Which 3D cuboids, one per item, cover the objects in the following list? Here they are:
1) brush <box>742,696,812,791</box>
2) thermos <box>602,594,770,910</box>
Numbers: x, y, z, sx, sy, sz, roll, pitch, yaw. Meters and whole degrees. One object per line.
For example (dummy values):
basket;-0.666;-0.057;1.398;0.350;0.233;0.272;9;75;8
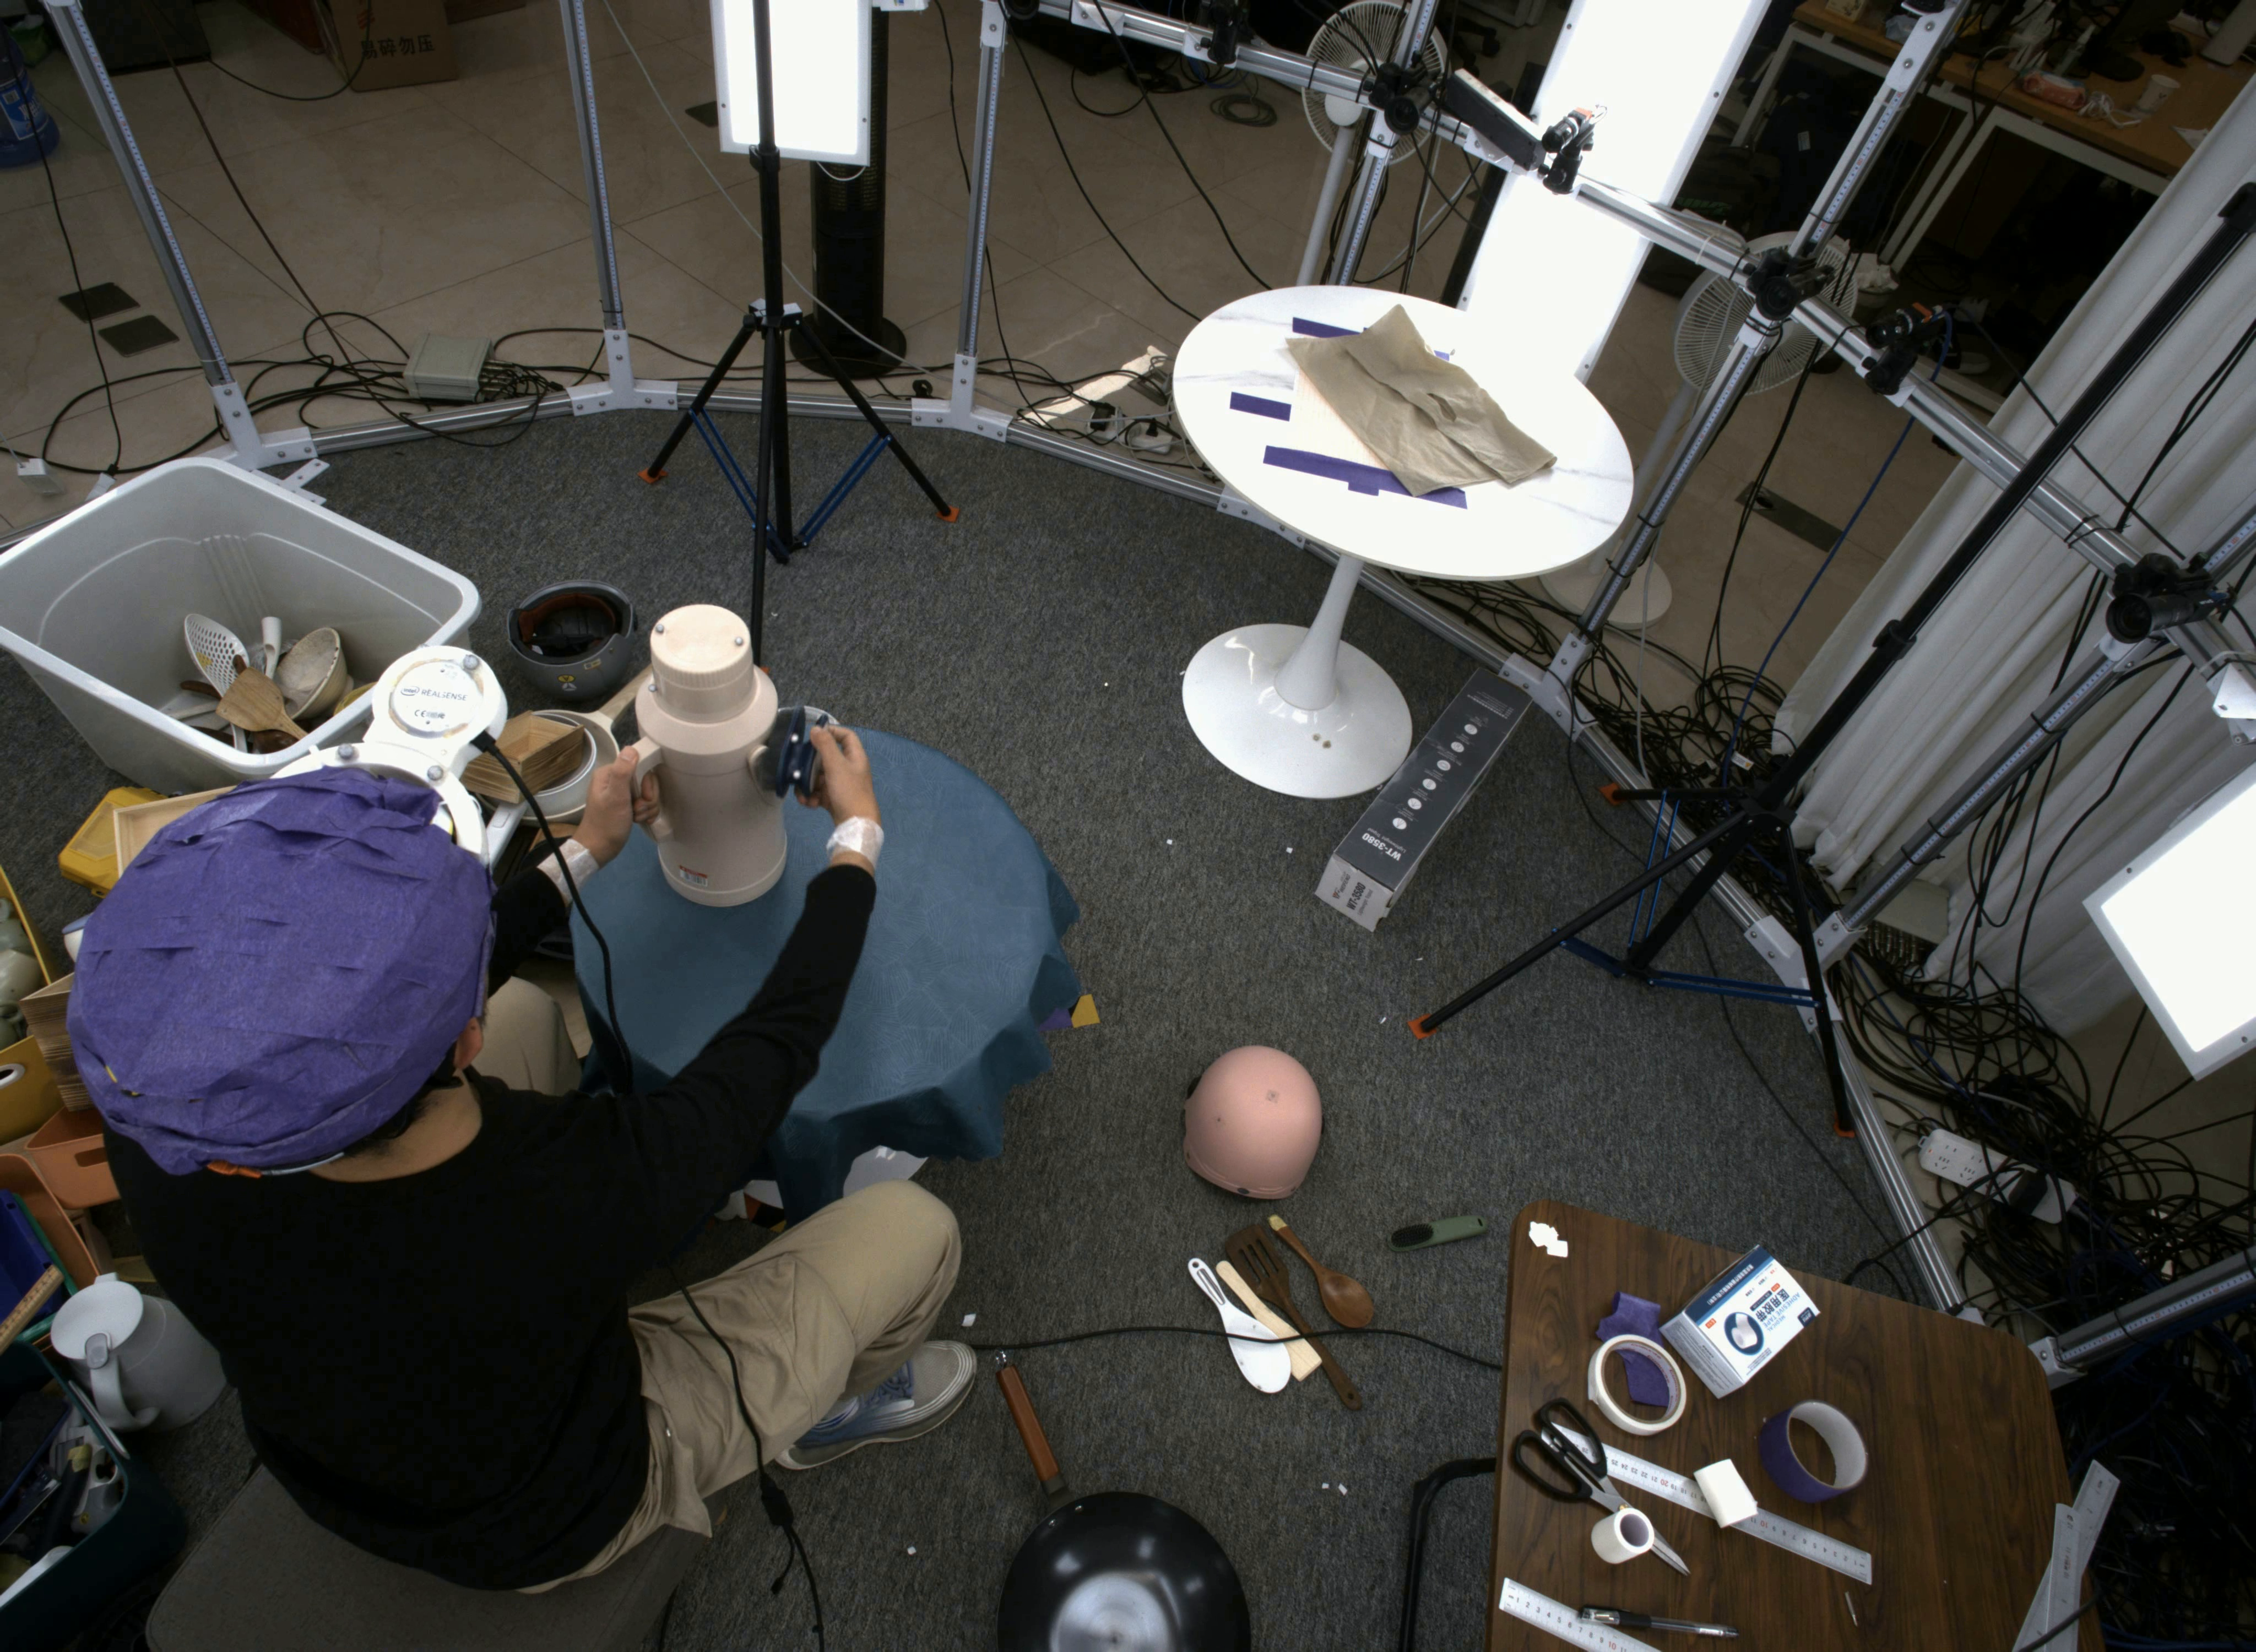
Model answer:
brush;-0.398;-0.093;1.461;0.061;0.069;0.119;10;49;-6
thermos;-0.517;-0.076;1.494;0.172;0.414;0.207;34;53;14
